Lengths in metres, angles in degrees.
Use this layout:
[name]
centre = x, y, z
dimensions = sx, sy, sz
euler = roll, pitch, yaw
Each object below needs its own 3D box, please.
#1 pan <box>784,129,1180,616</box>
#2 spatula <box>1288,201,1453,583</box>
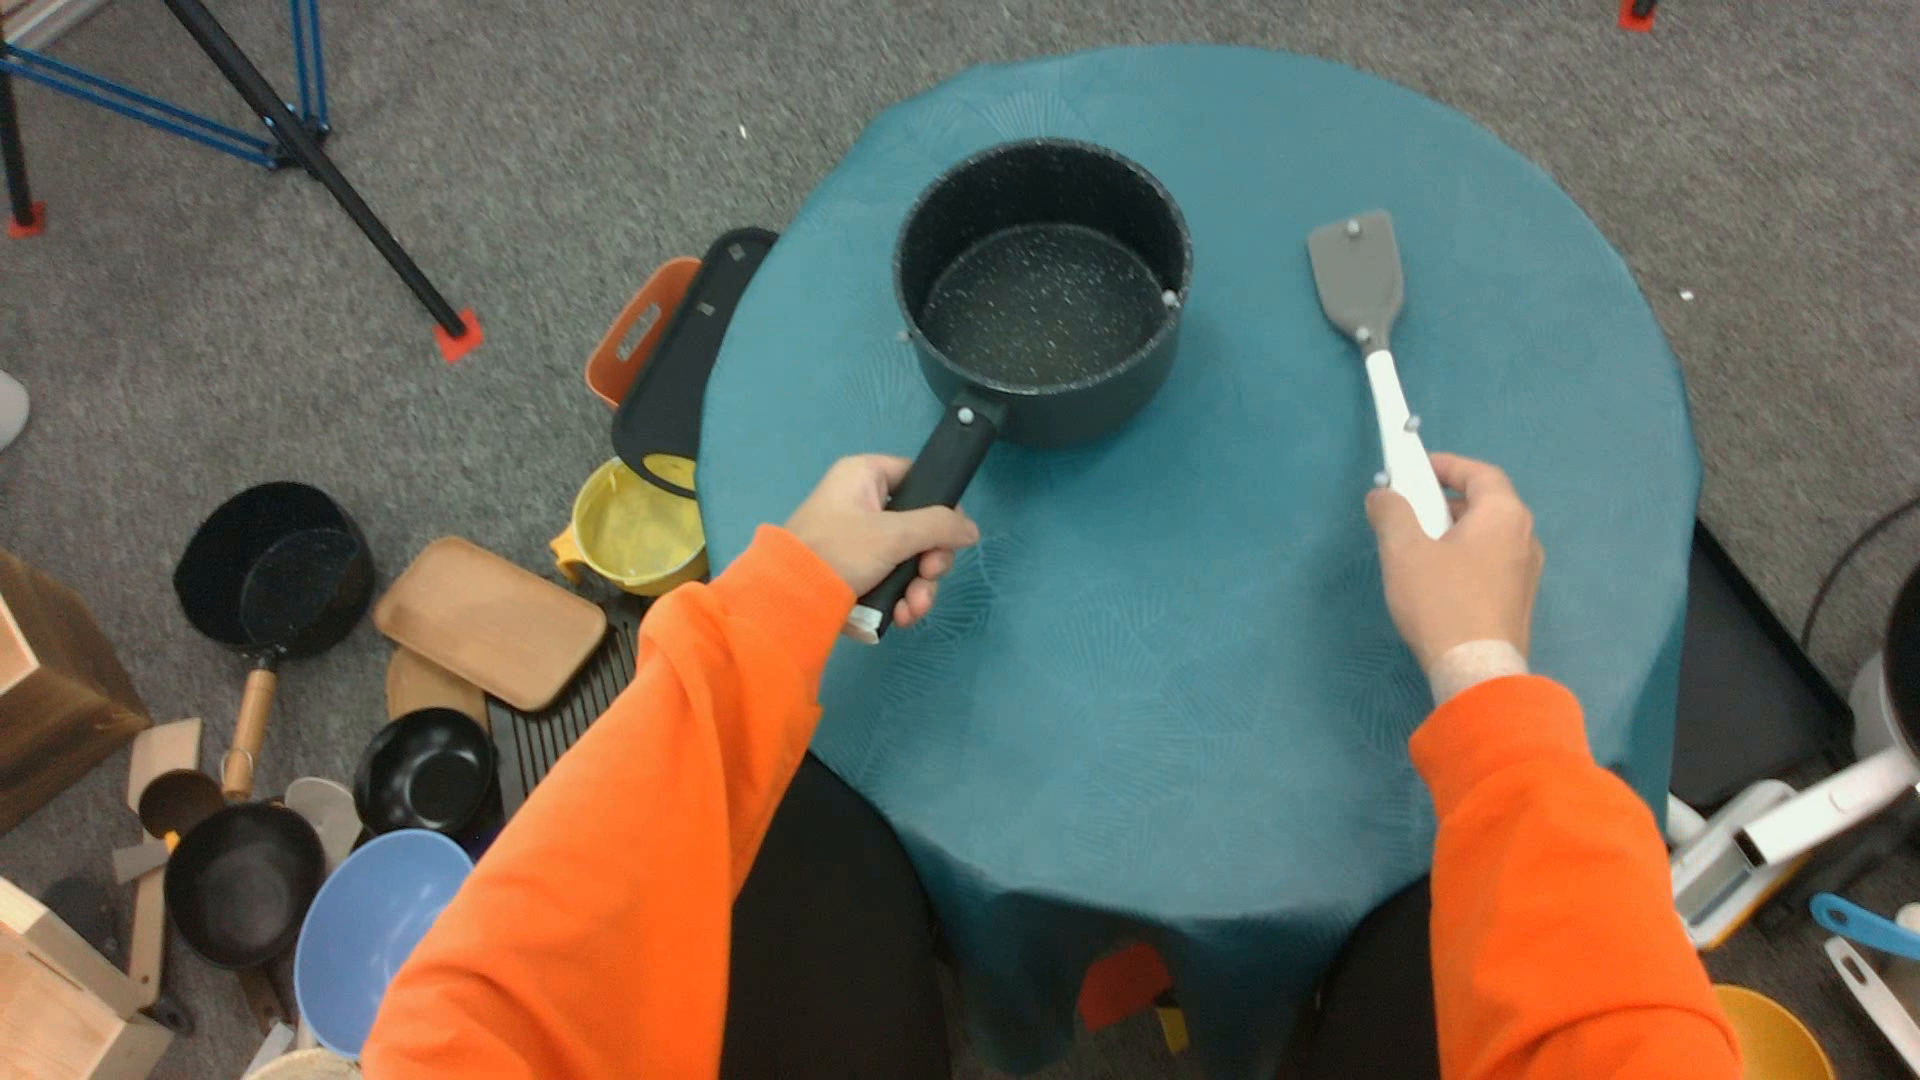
[pan]
centre = 0.005, -0.086, 0.783
dimensions = 0.172, 0.086, 0.330
euler = 24, 68, 16
[spatula]
centre = 0.240, -0.098, 0.807
dimensions = 0.058, 0.032, 0.289
euler = -14, 49, 17
